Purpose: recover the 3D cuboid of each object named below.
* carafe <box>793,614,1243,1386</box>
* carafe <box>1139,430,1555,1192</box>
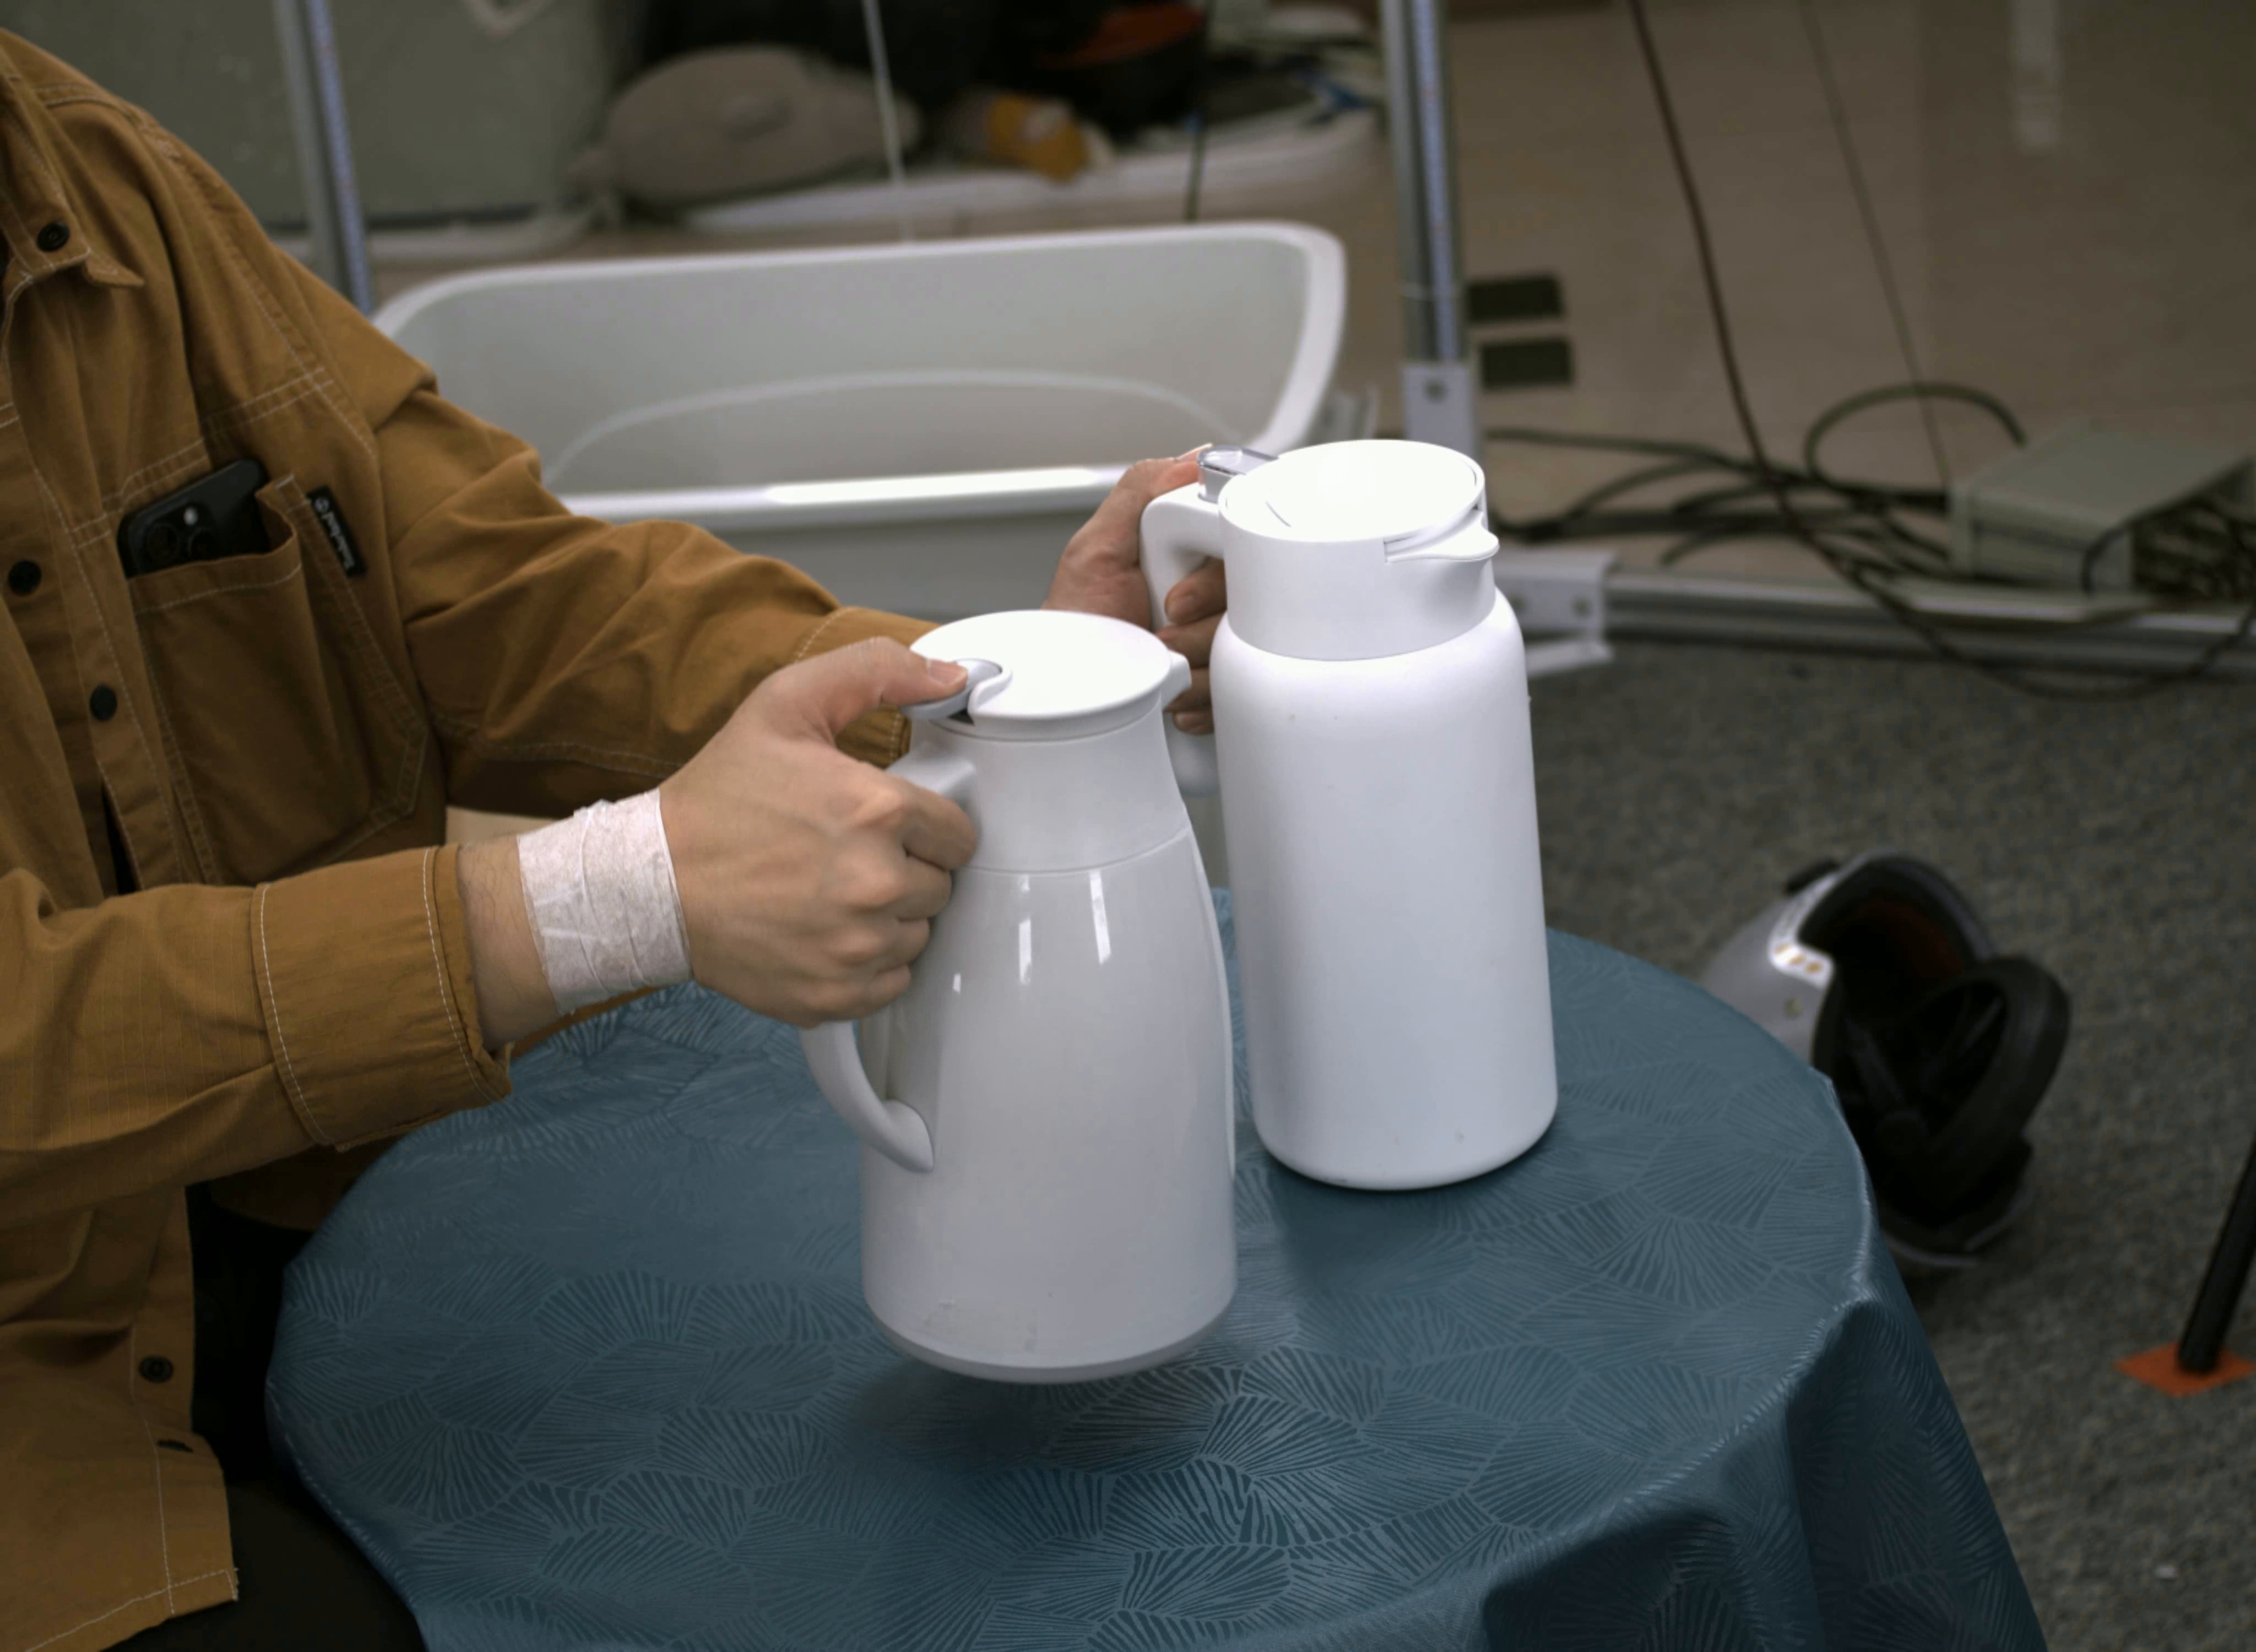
[{"bbox_3d":[-0.042,0.059,1.933,0.166,0.252,0.131,-23,32,-38],"label":"carafe"},{"bbox_3d":[0.080,-0.008,2.123,0.171,0.273,0.122,19,38,41],"label":"carafe"}]
